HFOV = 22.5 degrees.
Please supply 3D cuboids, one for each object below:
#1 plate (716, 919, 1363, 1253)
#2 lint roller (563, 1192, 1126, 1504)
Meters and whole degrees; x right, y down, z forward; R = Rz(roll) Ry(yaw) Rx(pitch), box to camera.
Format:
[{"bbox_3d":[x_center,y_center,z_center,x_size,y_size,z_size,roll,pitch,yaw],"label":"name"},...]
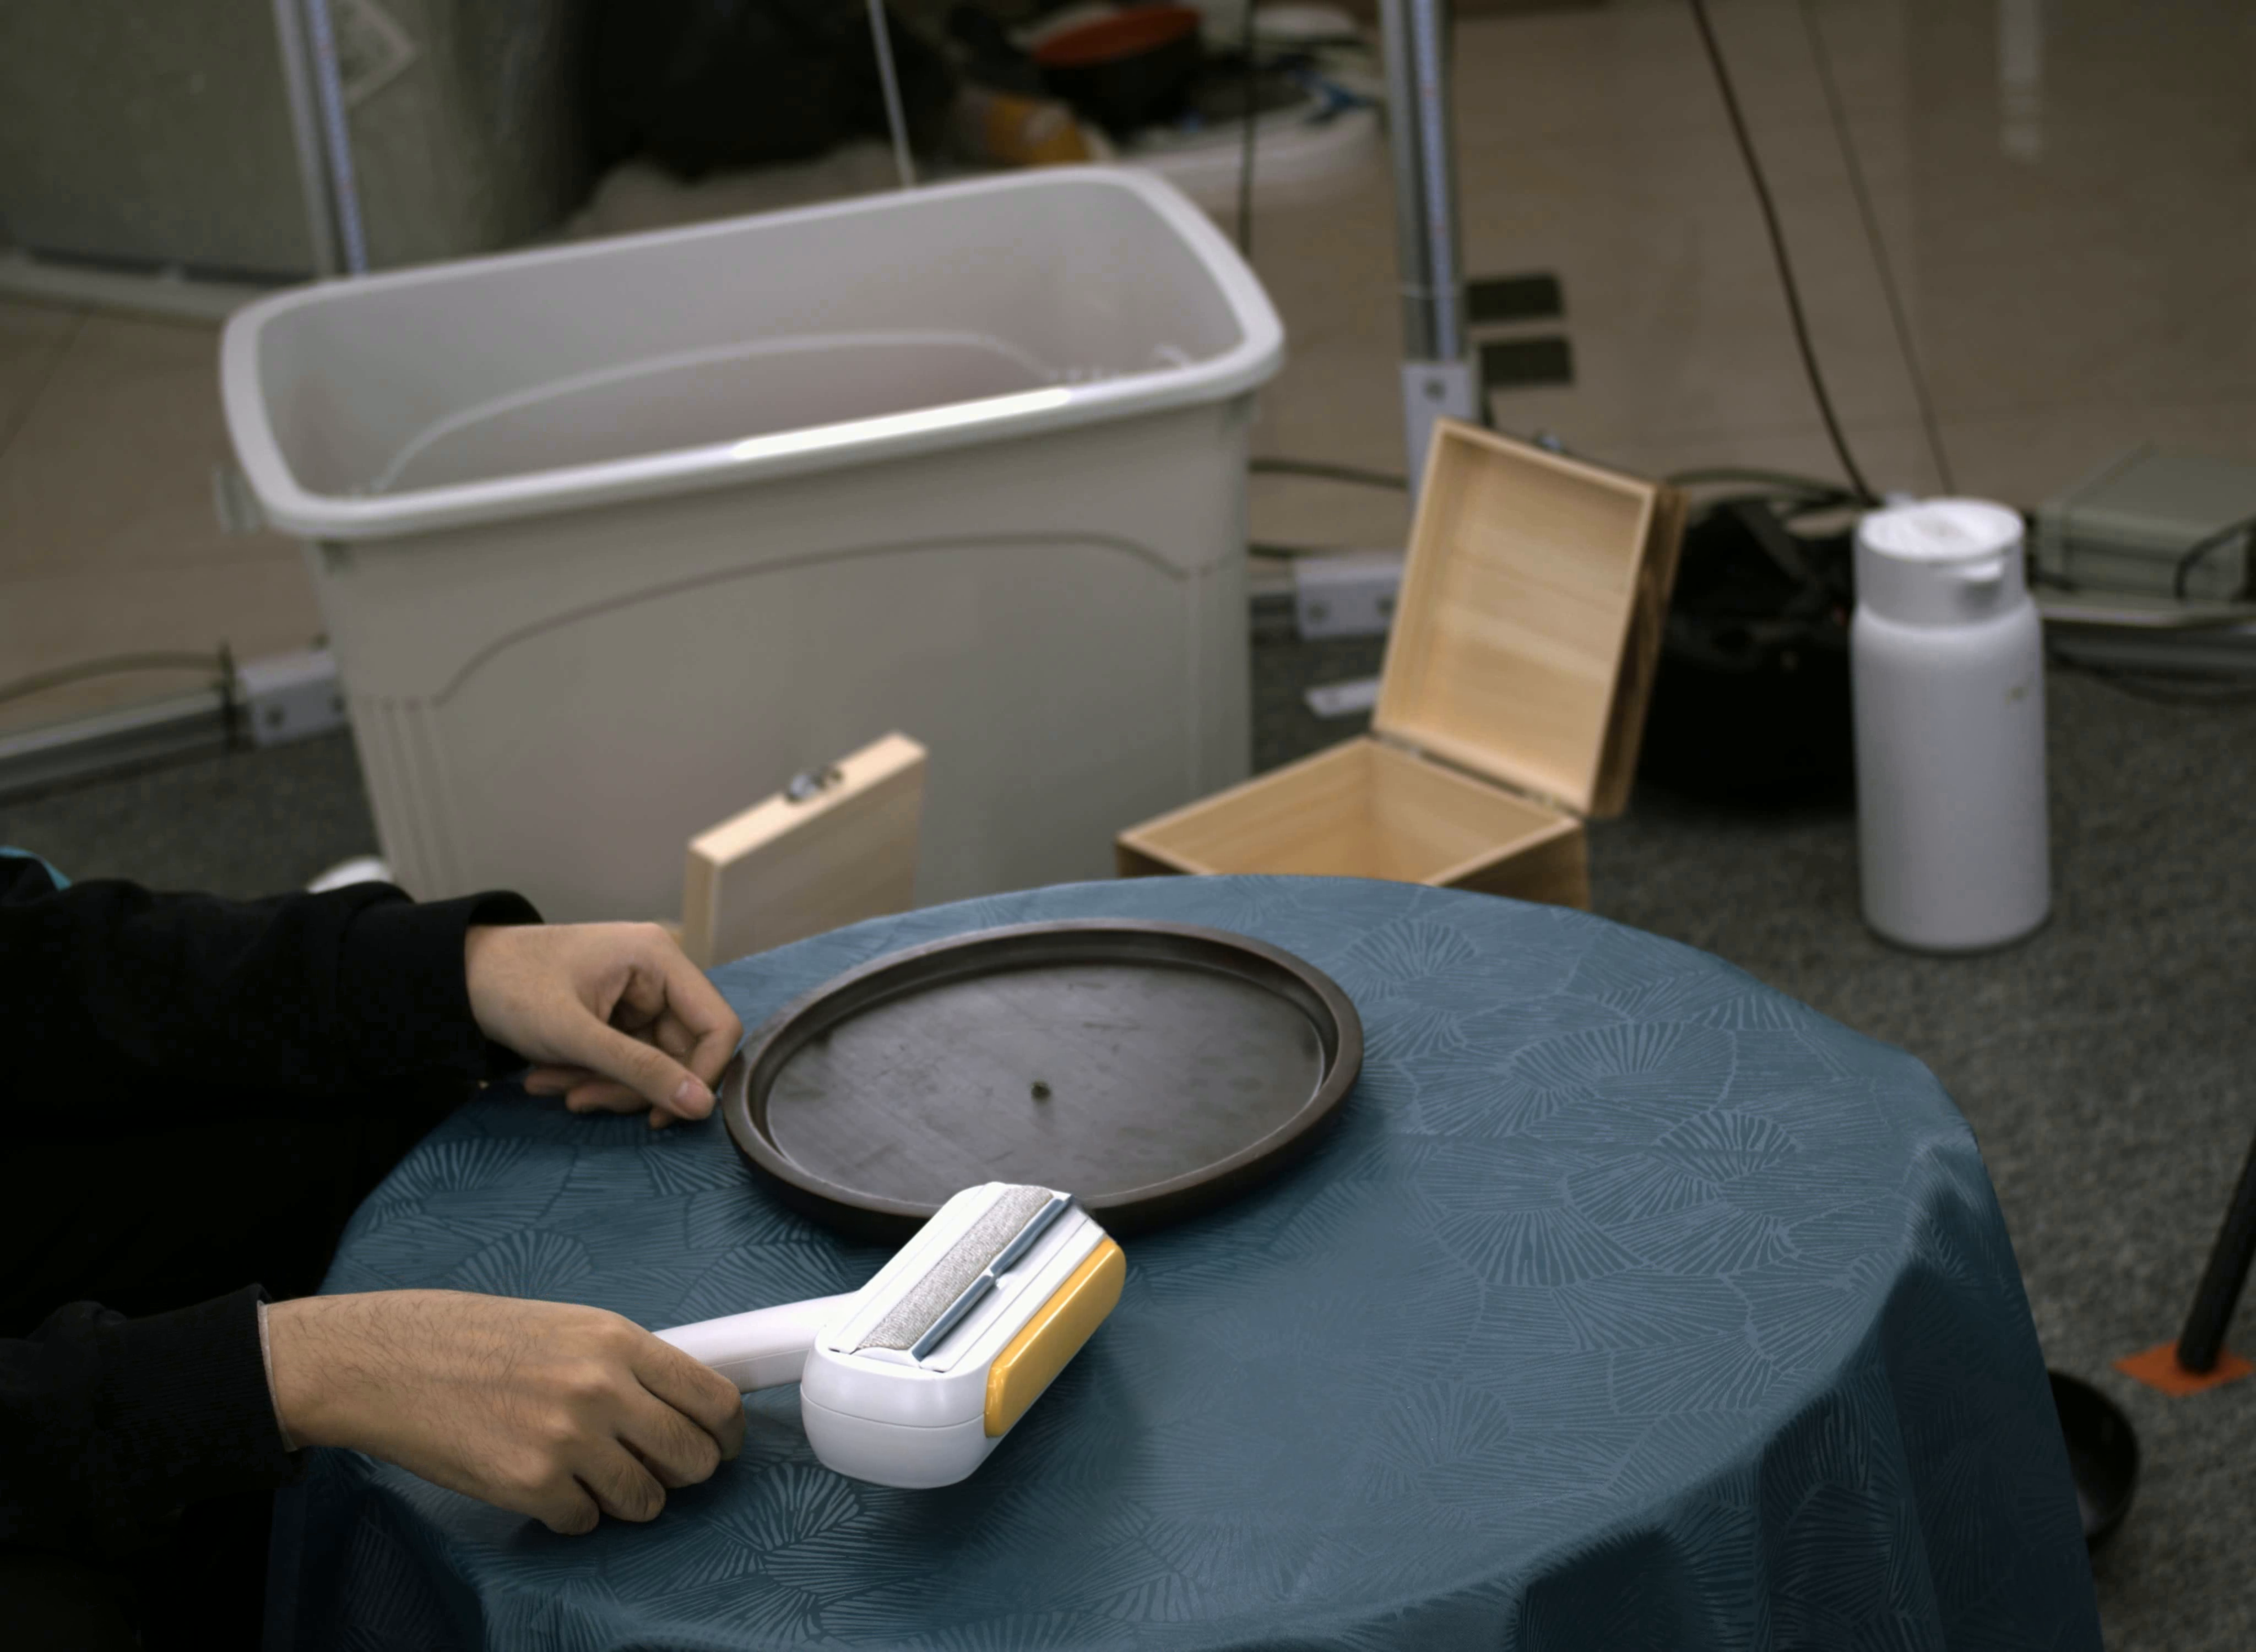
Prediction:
[{"bbox_3d":[-0.033,0.100,2.207,0.254,0.029,0.251,-6,24,3],"label":"plate"},{"bbox_3d":[-0.113,0.183,1.997,0.192,0.075,0.190,2,21,22],"label":"lint roller"}]
